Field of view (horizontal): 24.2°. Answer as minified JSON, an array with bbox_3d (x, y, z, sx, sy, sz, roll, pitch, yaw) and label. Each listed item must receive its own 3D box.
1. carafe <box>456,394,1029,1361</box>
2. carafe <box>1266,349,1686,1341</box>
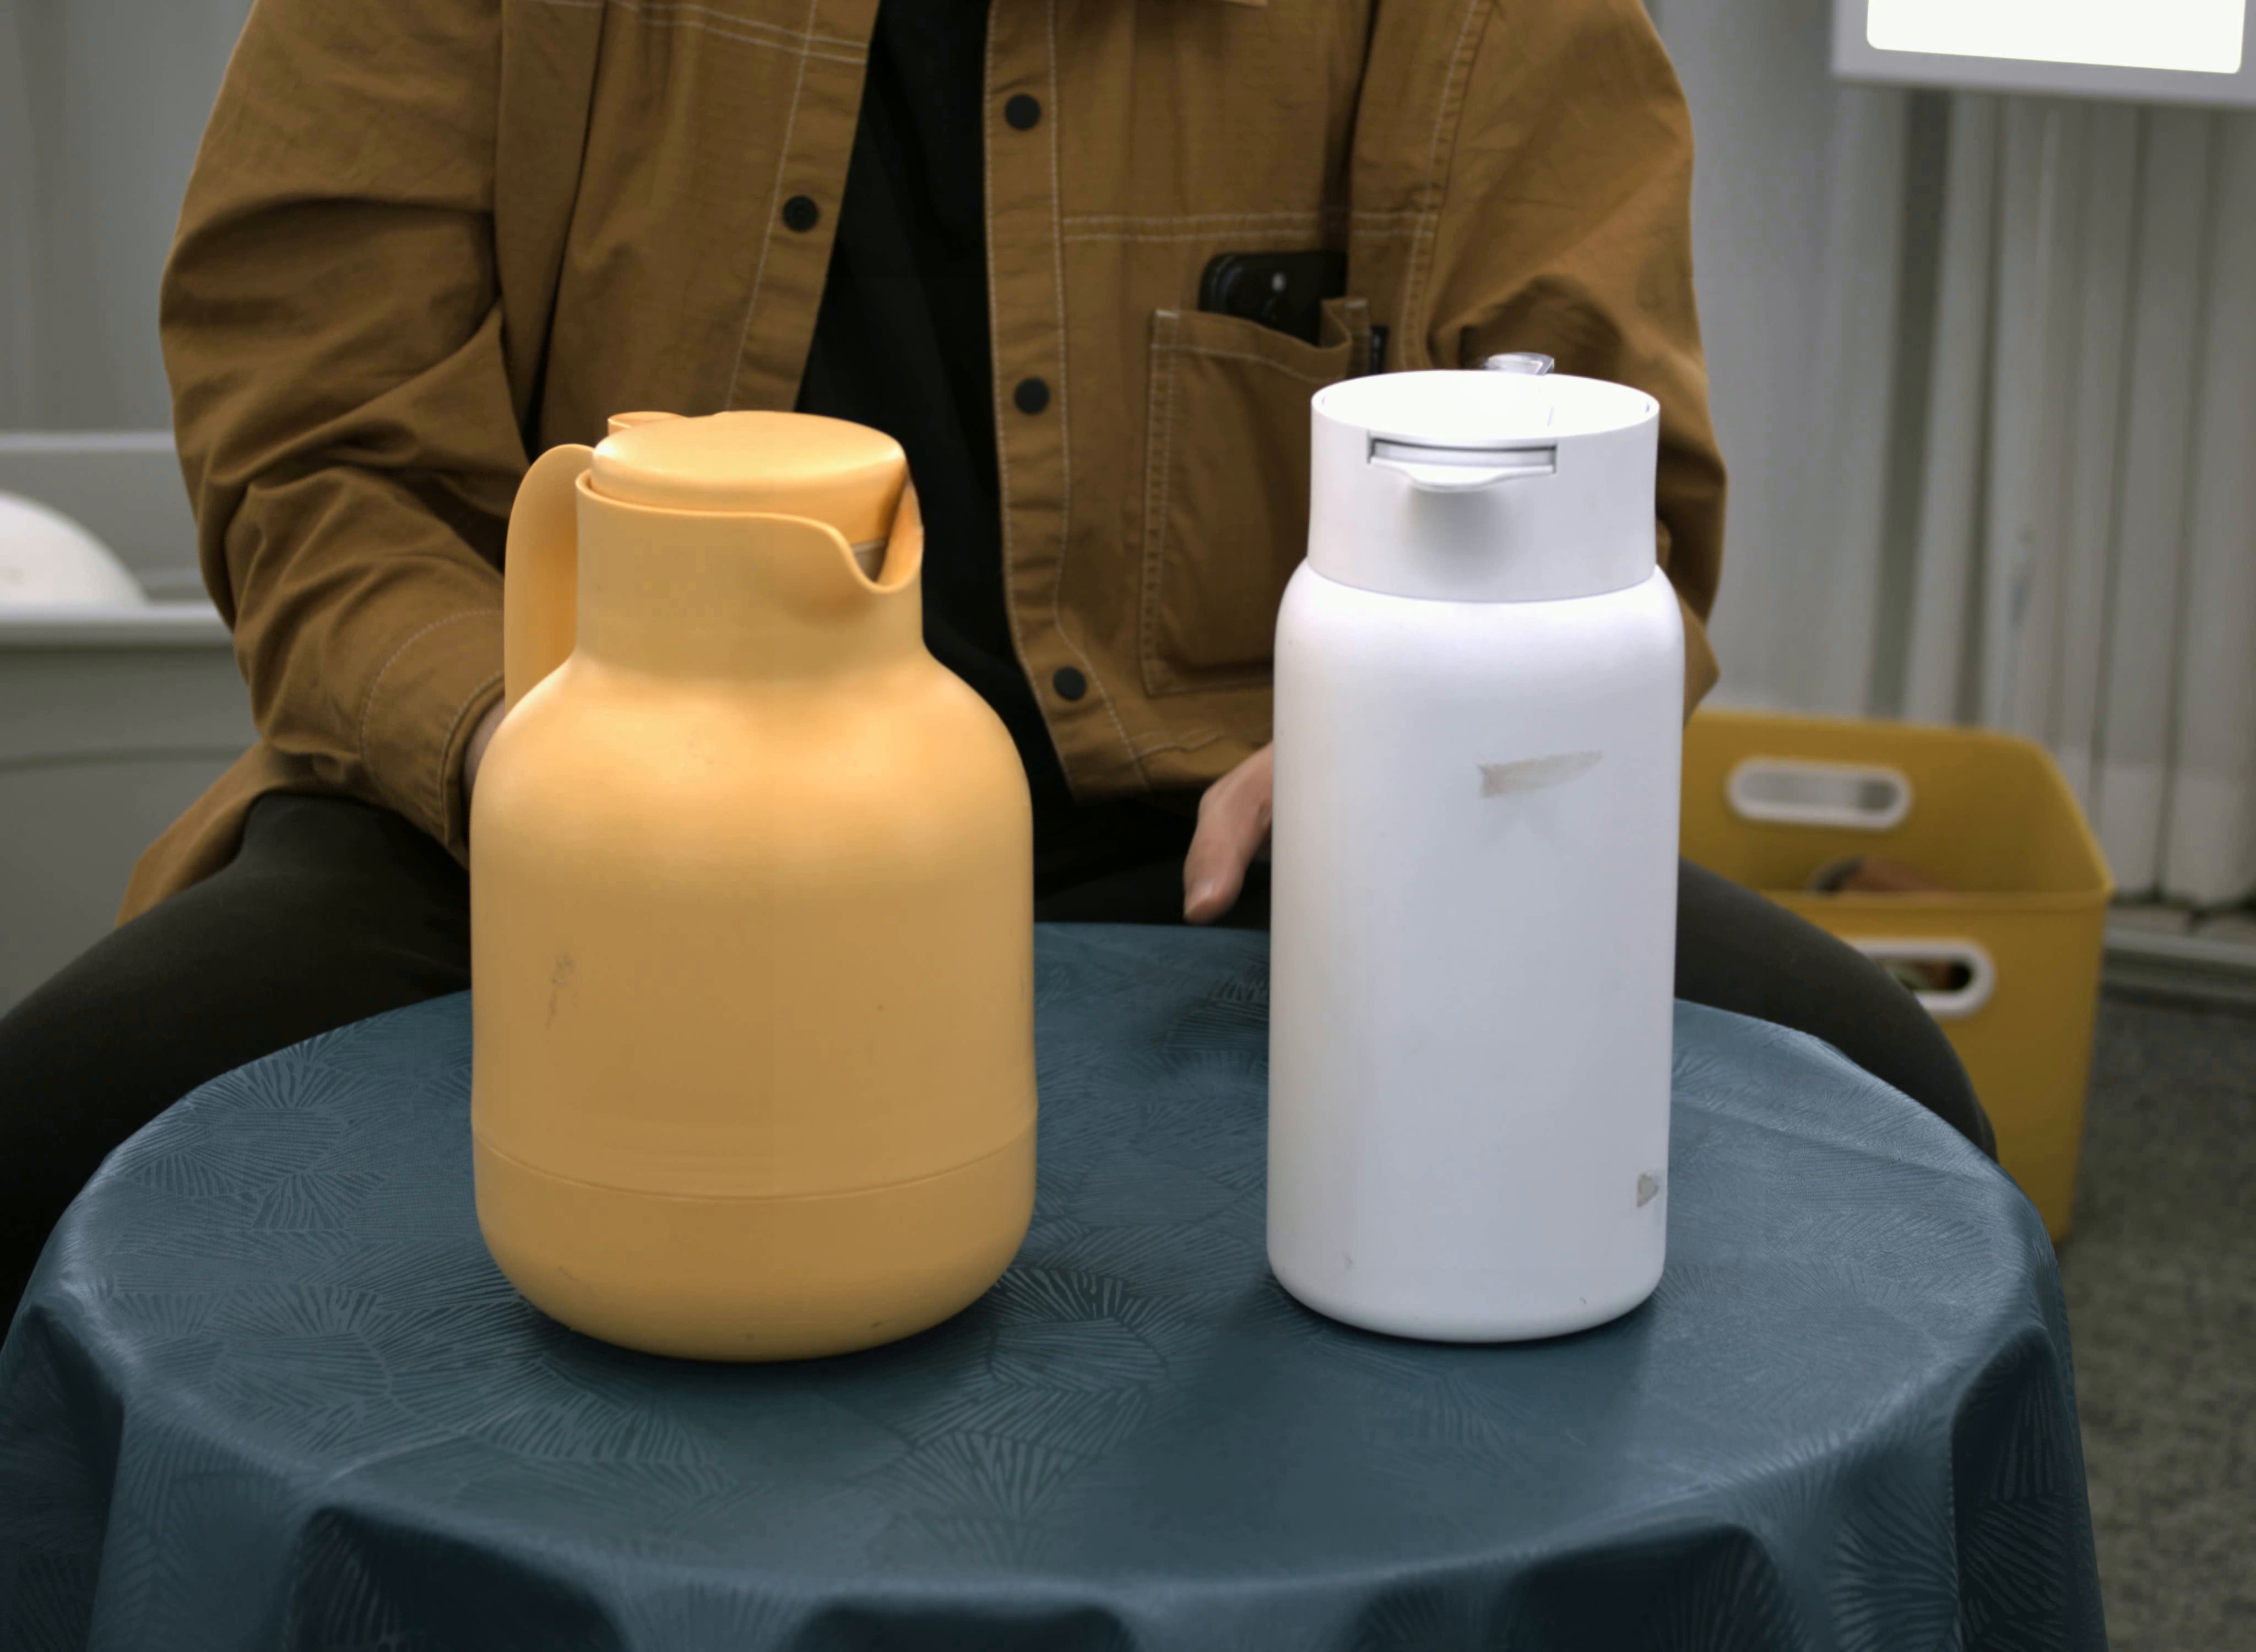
[{"bbox_3d":[-0.118,0.006,1.508,0.164,0.262,0.199,-7,18,-33],"label":"carafe"},{"bbox_3d":[0.102,0.001,1.525,0.123,0.271,0.172,2,16,11],"label":"carafe"}]
